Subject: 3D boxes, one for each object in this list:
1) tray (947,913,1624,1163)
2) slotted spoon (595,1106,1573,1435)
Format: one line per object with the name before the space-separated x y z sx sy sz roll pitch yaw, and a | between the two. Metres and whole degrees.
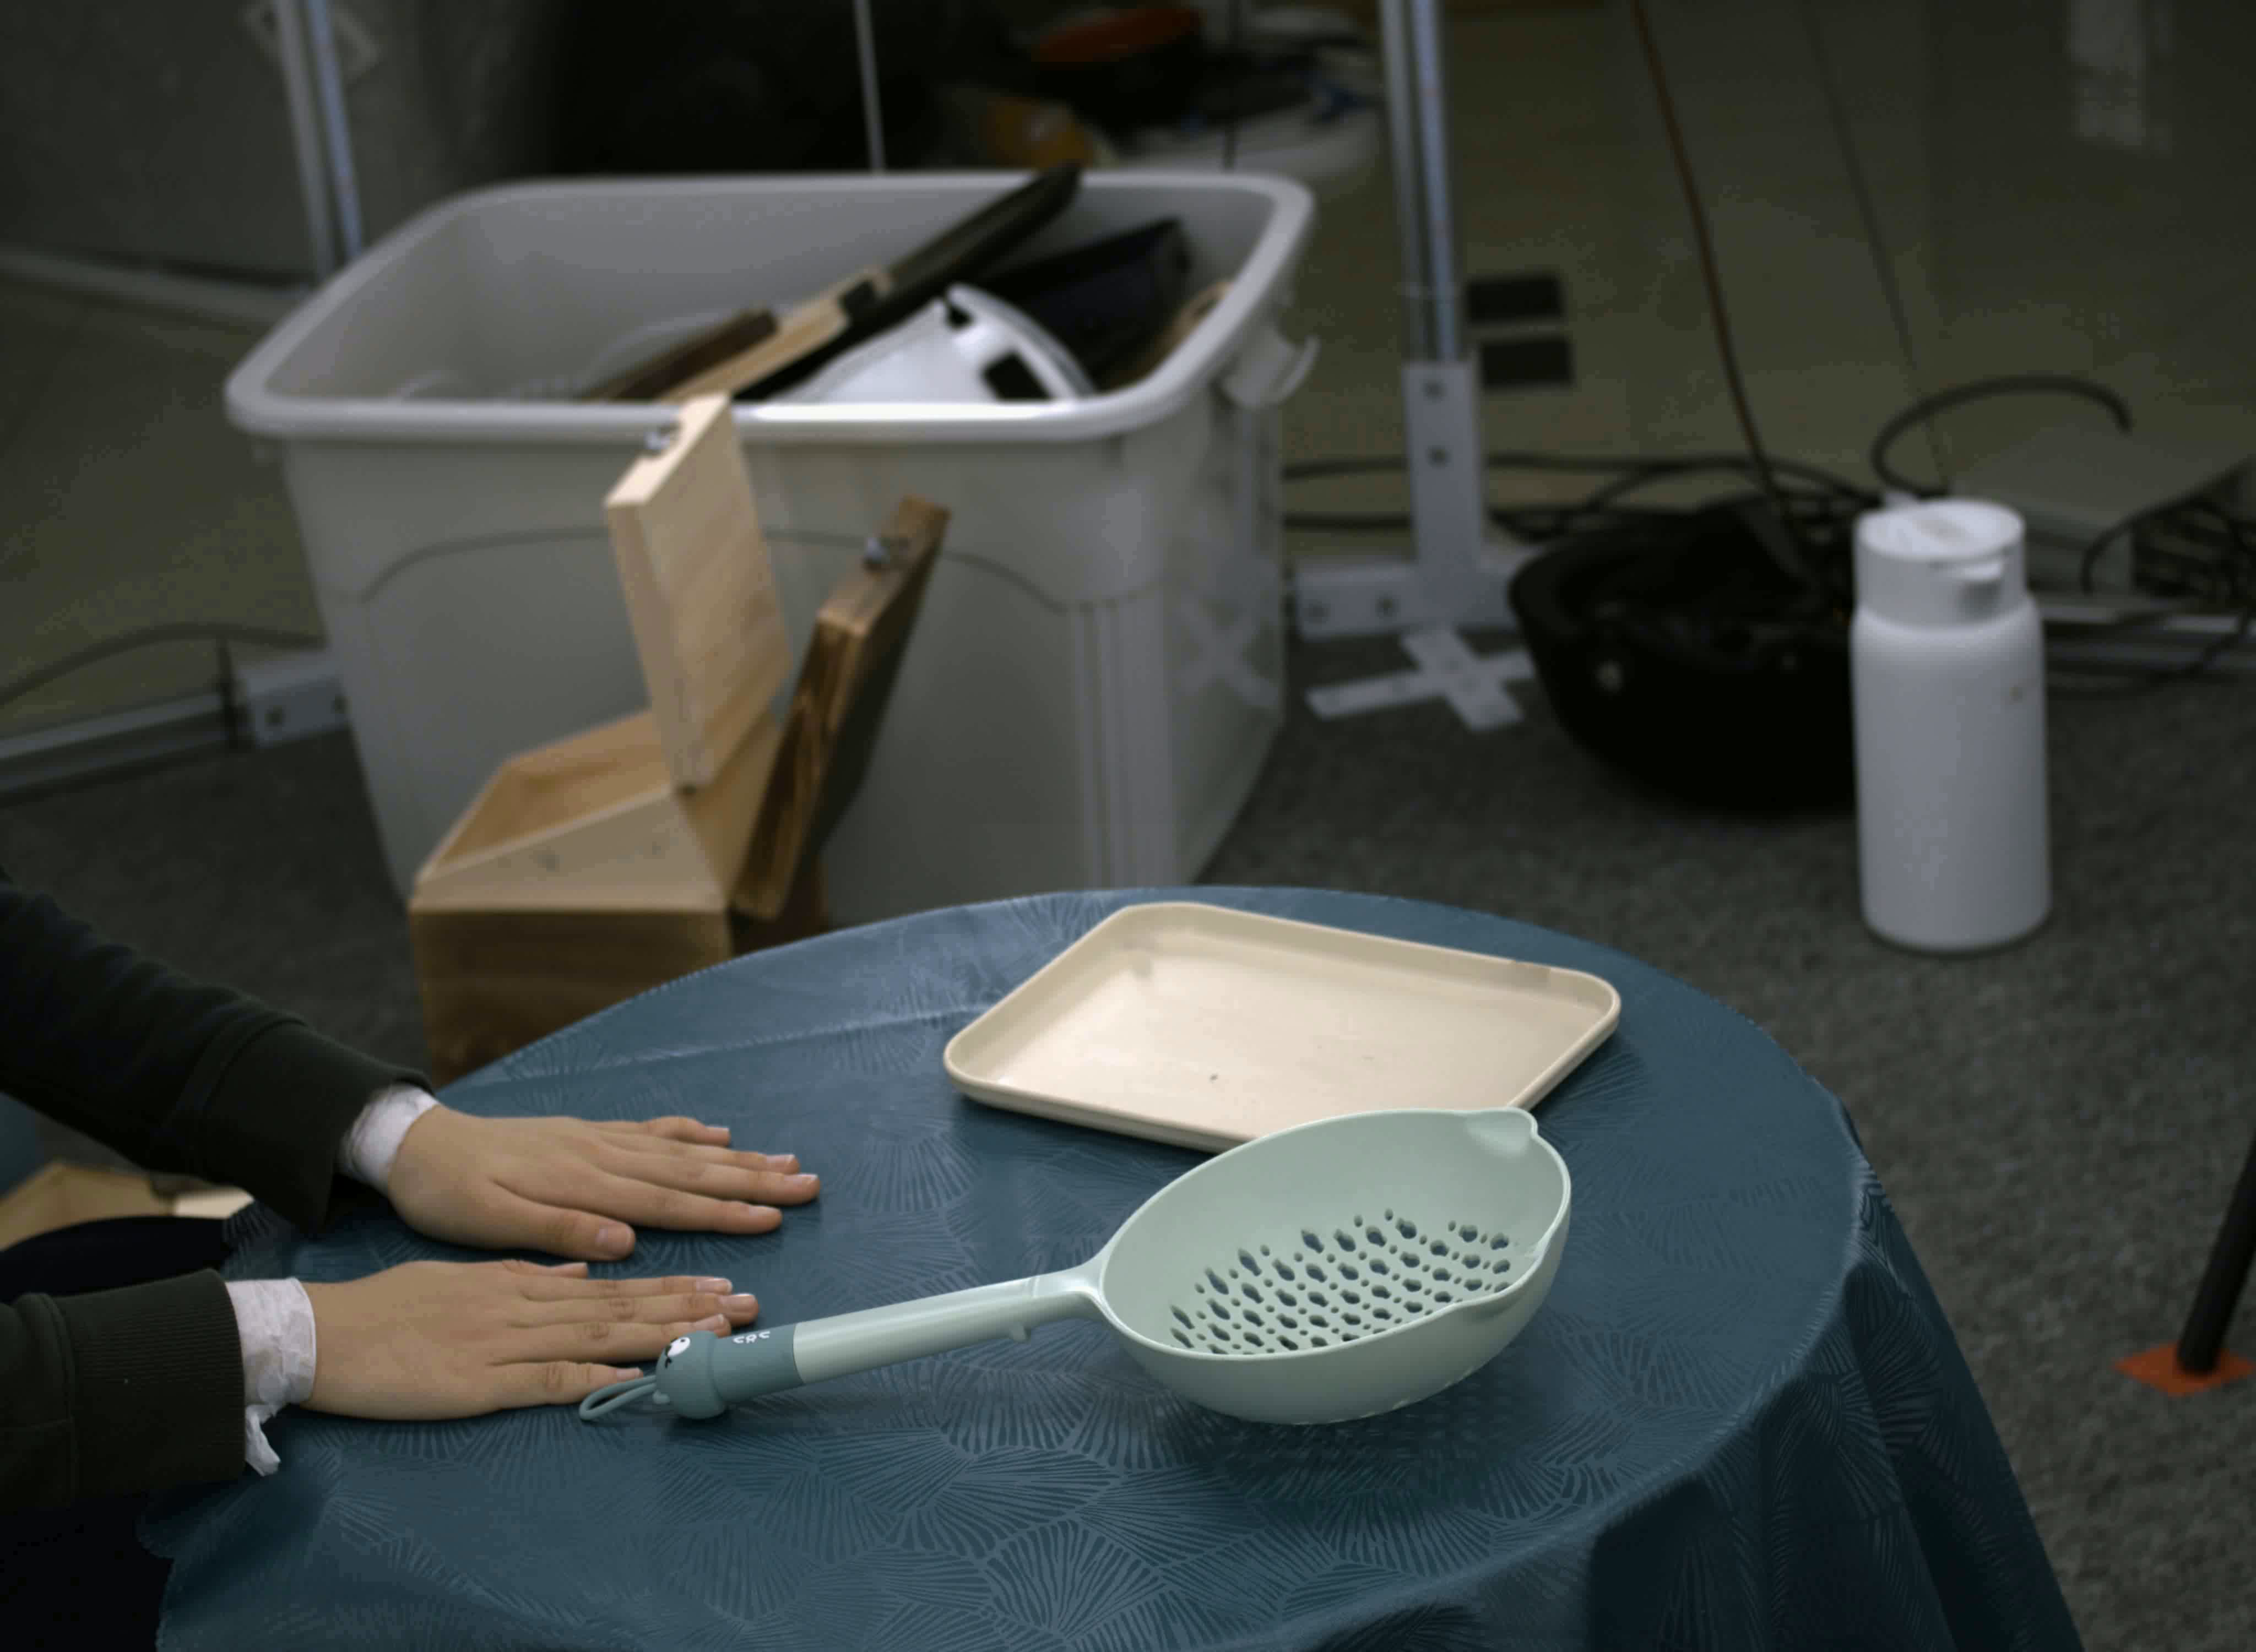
tray | 0.062 0.088 2.229 0.238 0.018 0.169 9 29 32
slotted spoon | -0.019 0.172 2.011 0.358 0.076 0.167 -4 24 7
